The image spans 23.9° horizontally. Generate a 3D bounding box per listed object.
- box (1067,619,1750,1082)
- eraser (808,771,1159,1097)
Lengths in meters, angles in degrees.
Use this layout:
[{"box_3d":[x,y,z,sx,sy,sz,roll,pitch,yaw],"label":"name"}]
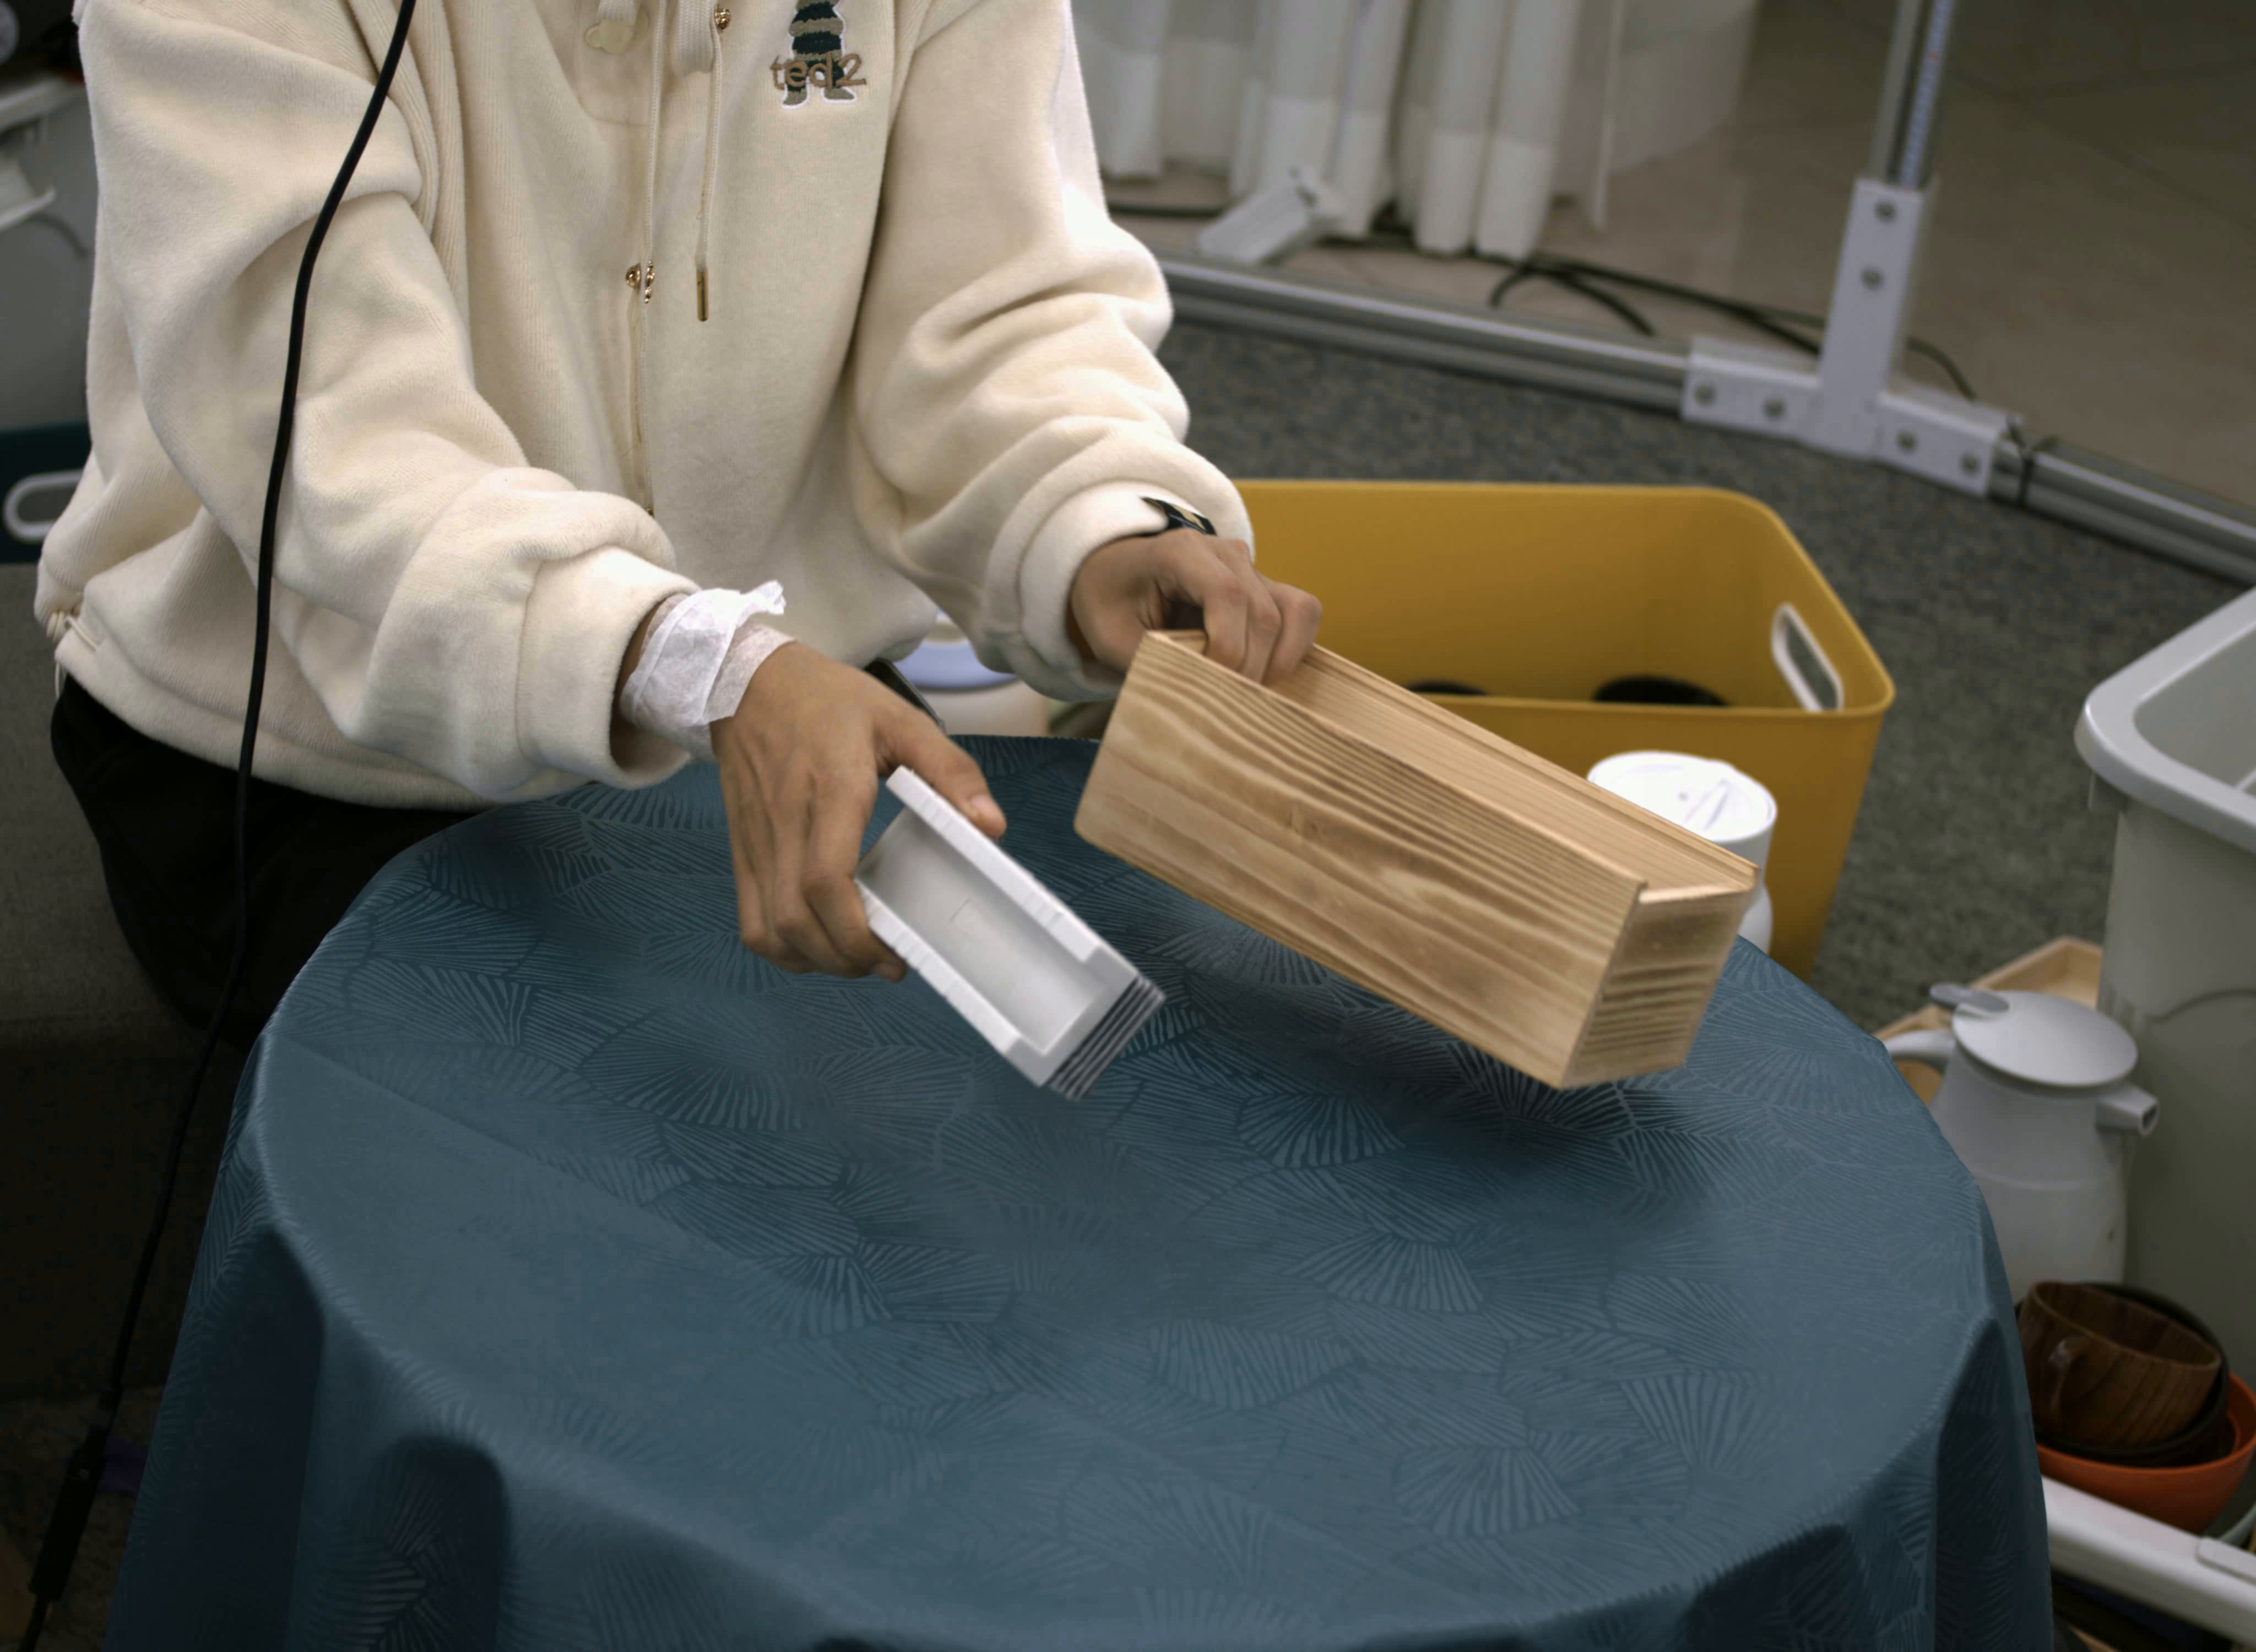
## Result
[{"box_3d":[0.099,0.006,1.891,0.212,0.080,0.107,28,14,26],"label":"box"},{"box_3d":[-0.048,0.035,1.767,0.046,0.050,0.135,36,0,-43],"label":"eraser"}]
